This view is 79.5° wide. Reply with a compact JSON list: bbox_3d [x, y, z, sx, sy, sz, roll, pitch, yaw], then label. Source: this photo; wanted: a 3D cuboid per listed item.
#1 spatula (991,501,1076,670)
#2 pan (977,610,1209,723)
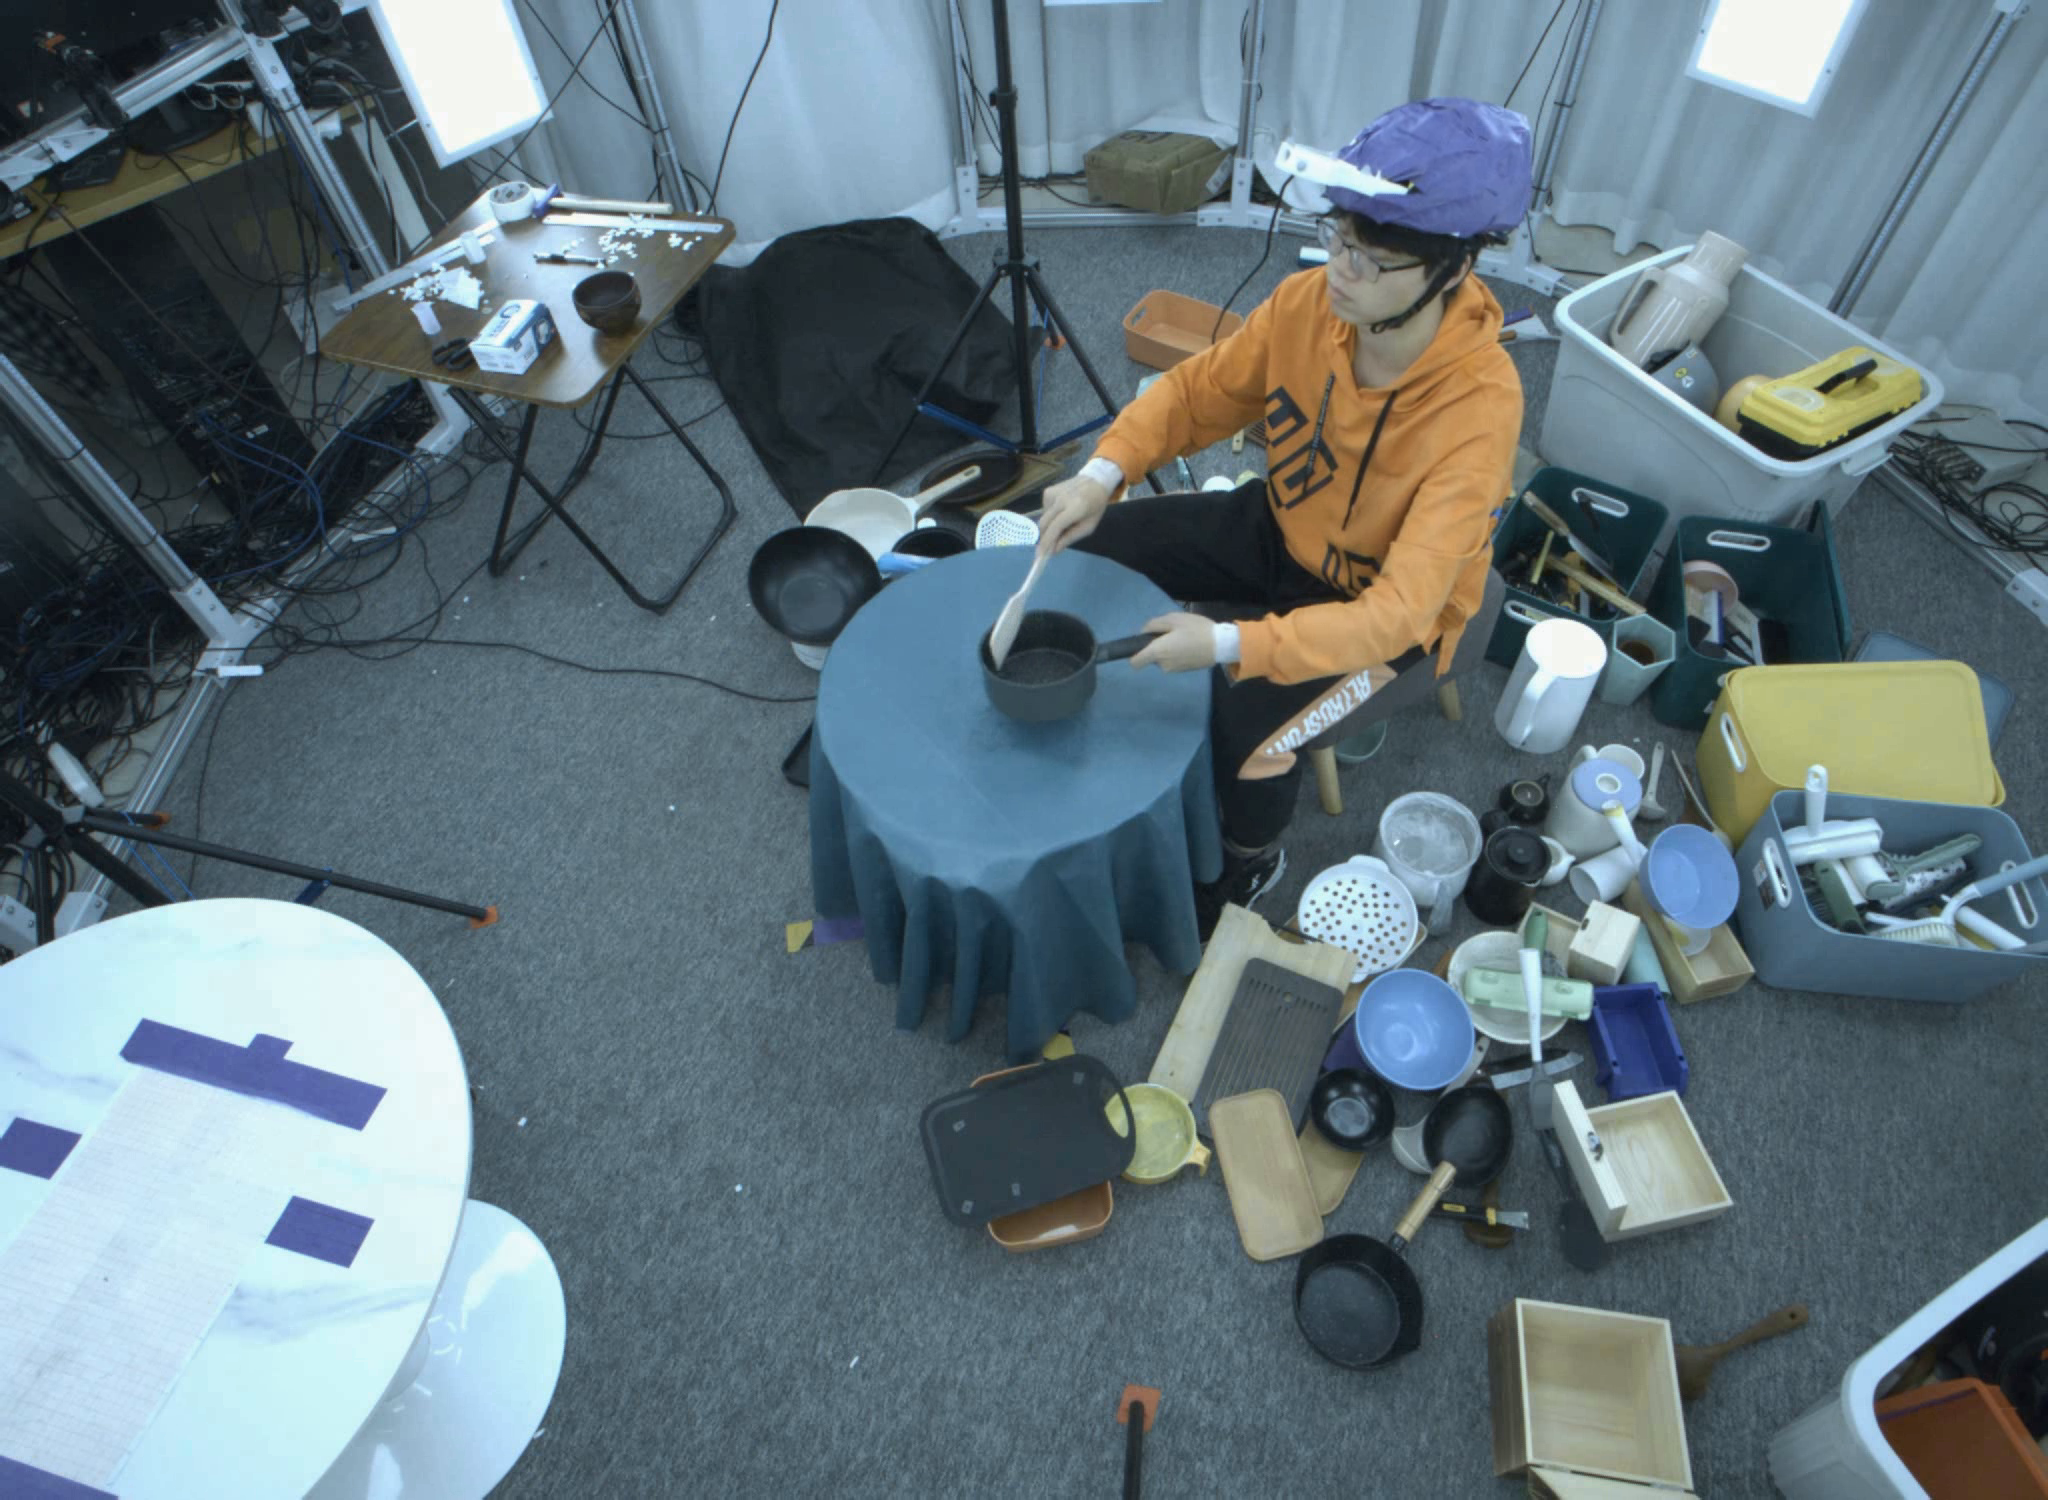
[{"bbox_3d":[0.016,-0.251,1.783,0.010,0.073,0.293,17,65,20],"label":"spatula"},{"bbox_3d":[0.101,-0.127,1.760,0.328,0.087,0.170,-4,47,2],"label":"pan"}]
